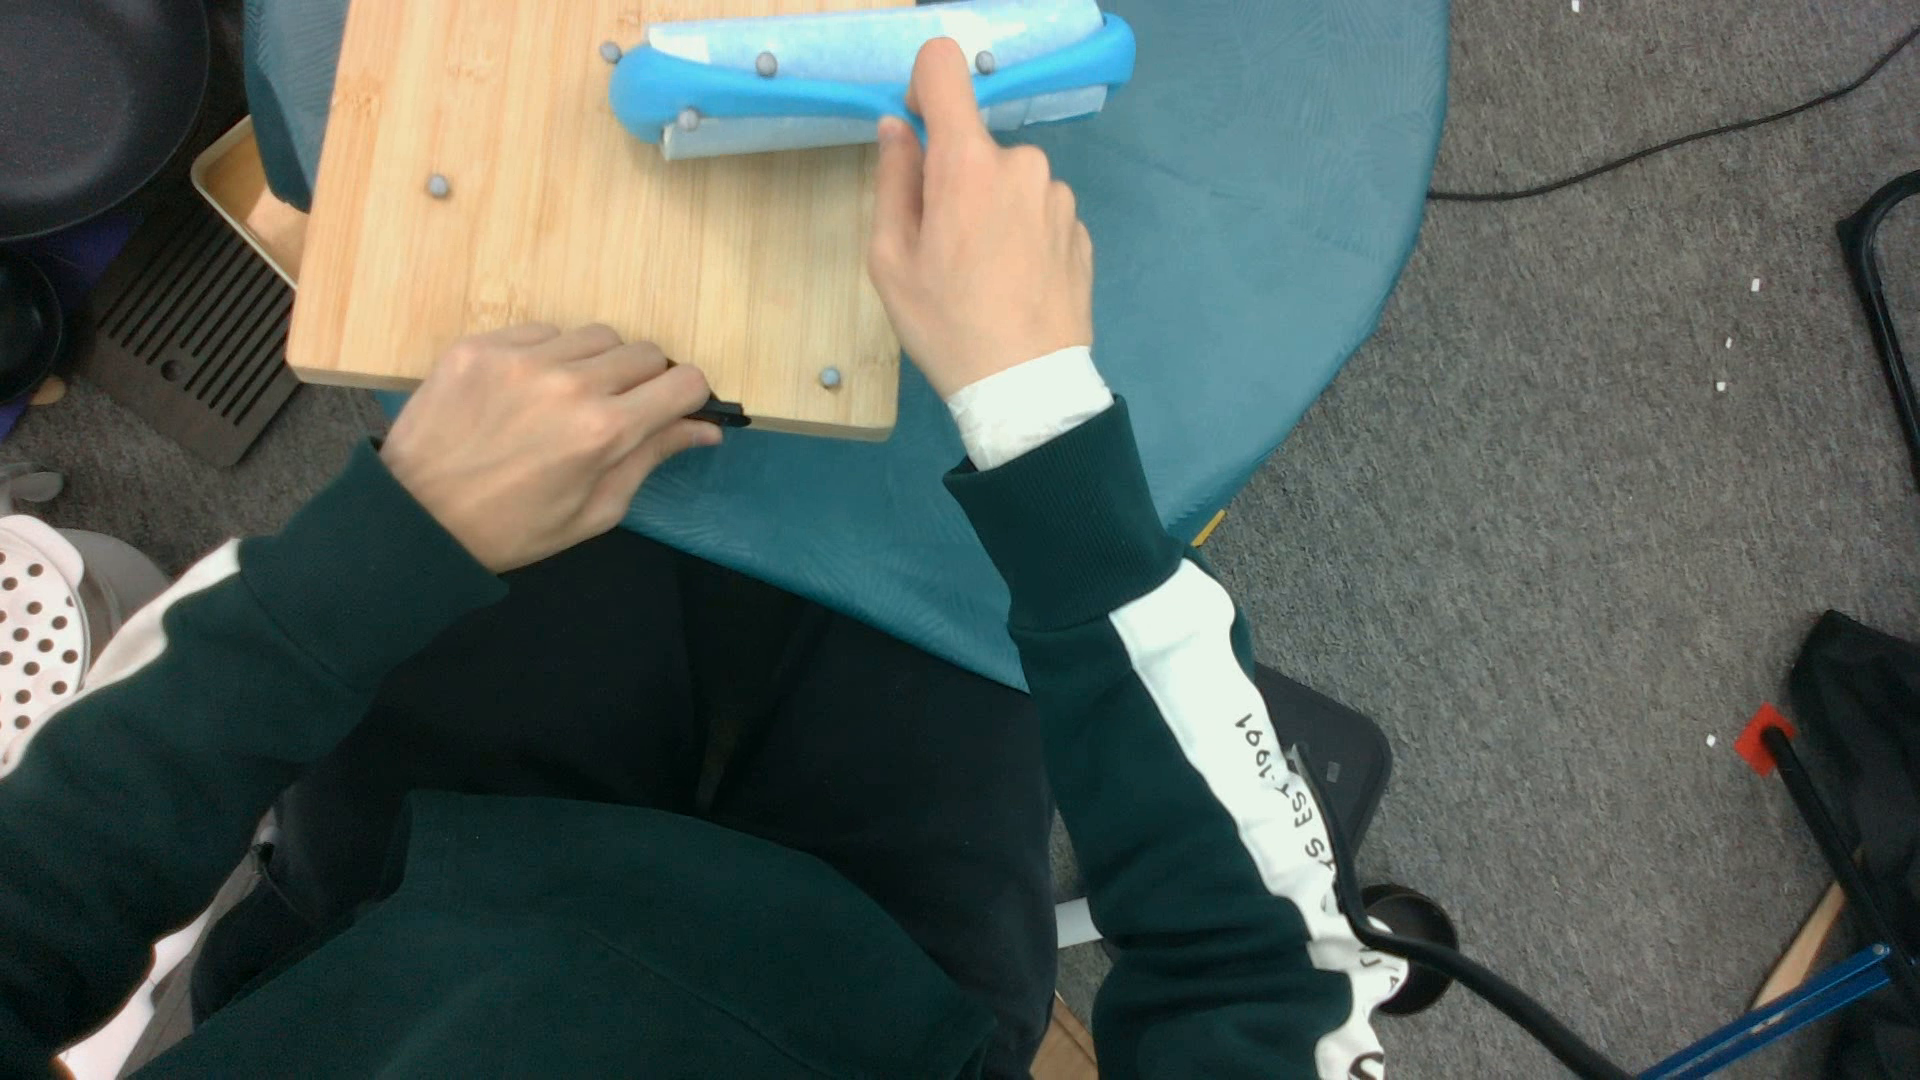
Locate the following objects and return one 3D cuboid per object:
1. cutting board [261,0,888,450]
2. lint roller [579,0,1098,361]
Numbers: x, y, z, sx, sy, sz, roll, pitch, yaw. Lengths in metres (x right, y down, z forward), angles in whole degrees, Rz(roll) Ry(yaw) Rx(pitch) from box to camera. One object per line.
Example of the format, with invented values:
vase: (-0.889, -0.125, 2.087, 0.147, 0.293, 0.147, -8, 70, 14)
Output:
cutting board: (-0.154, -0.212, 0.614, 0.251, 0.023, 0.349, 2, 73, -12)
lint roller: (-0.026, -0.160, 0.567, 0.229, 0.067, 0.181, -14, 57, -19)
